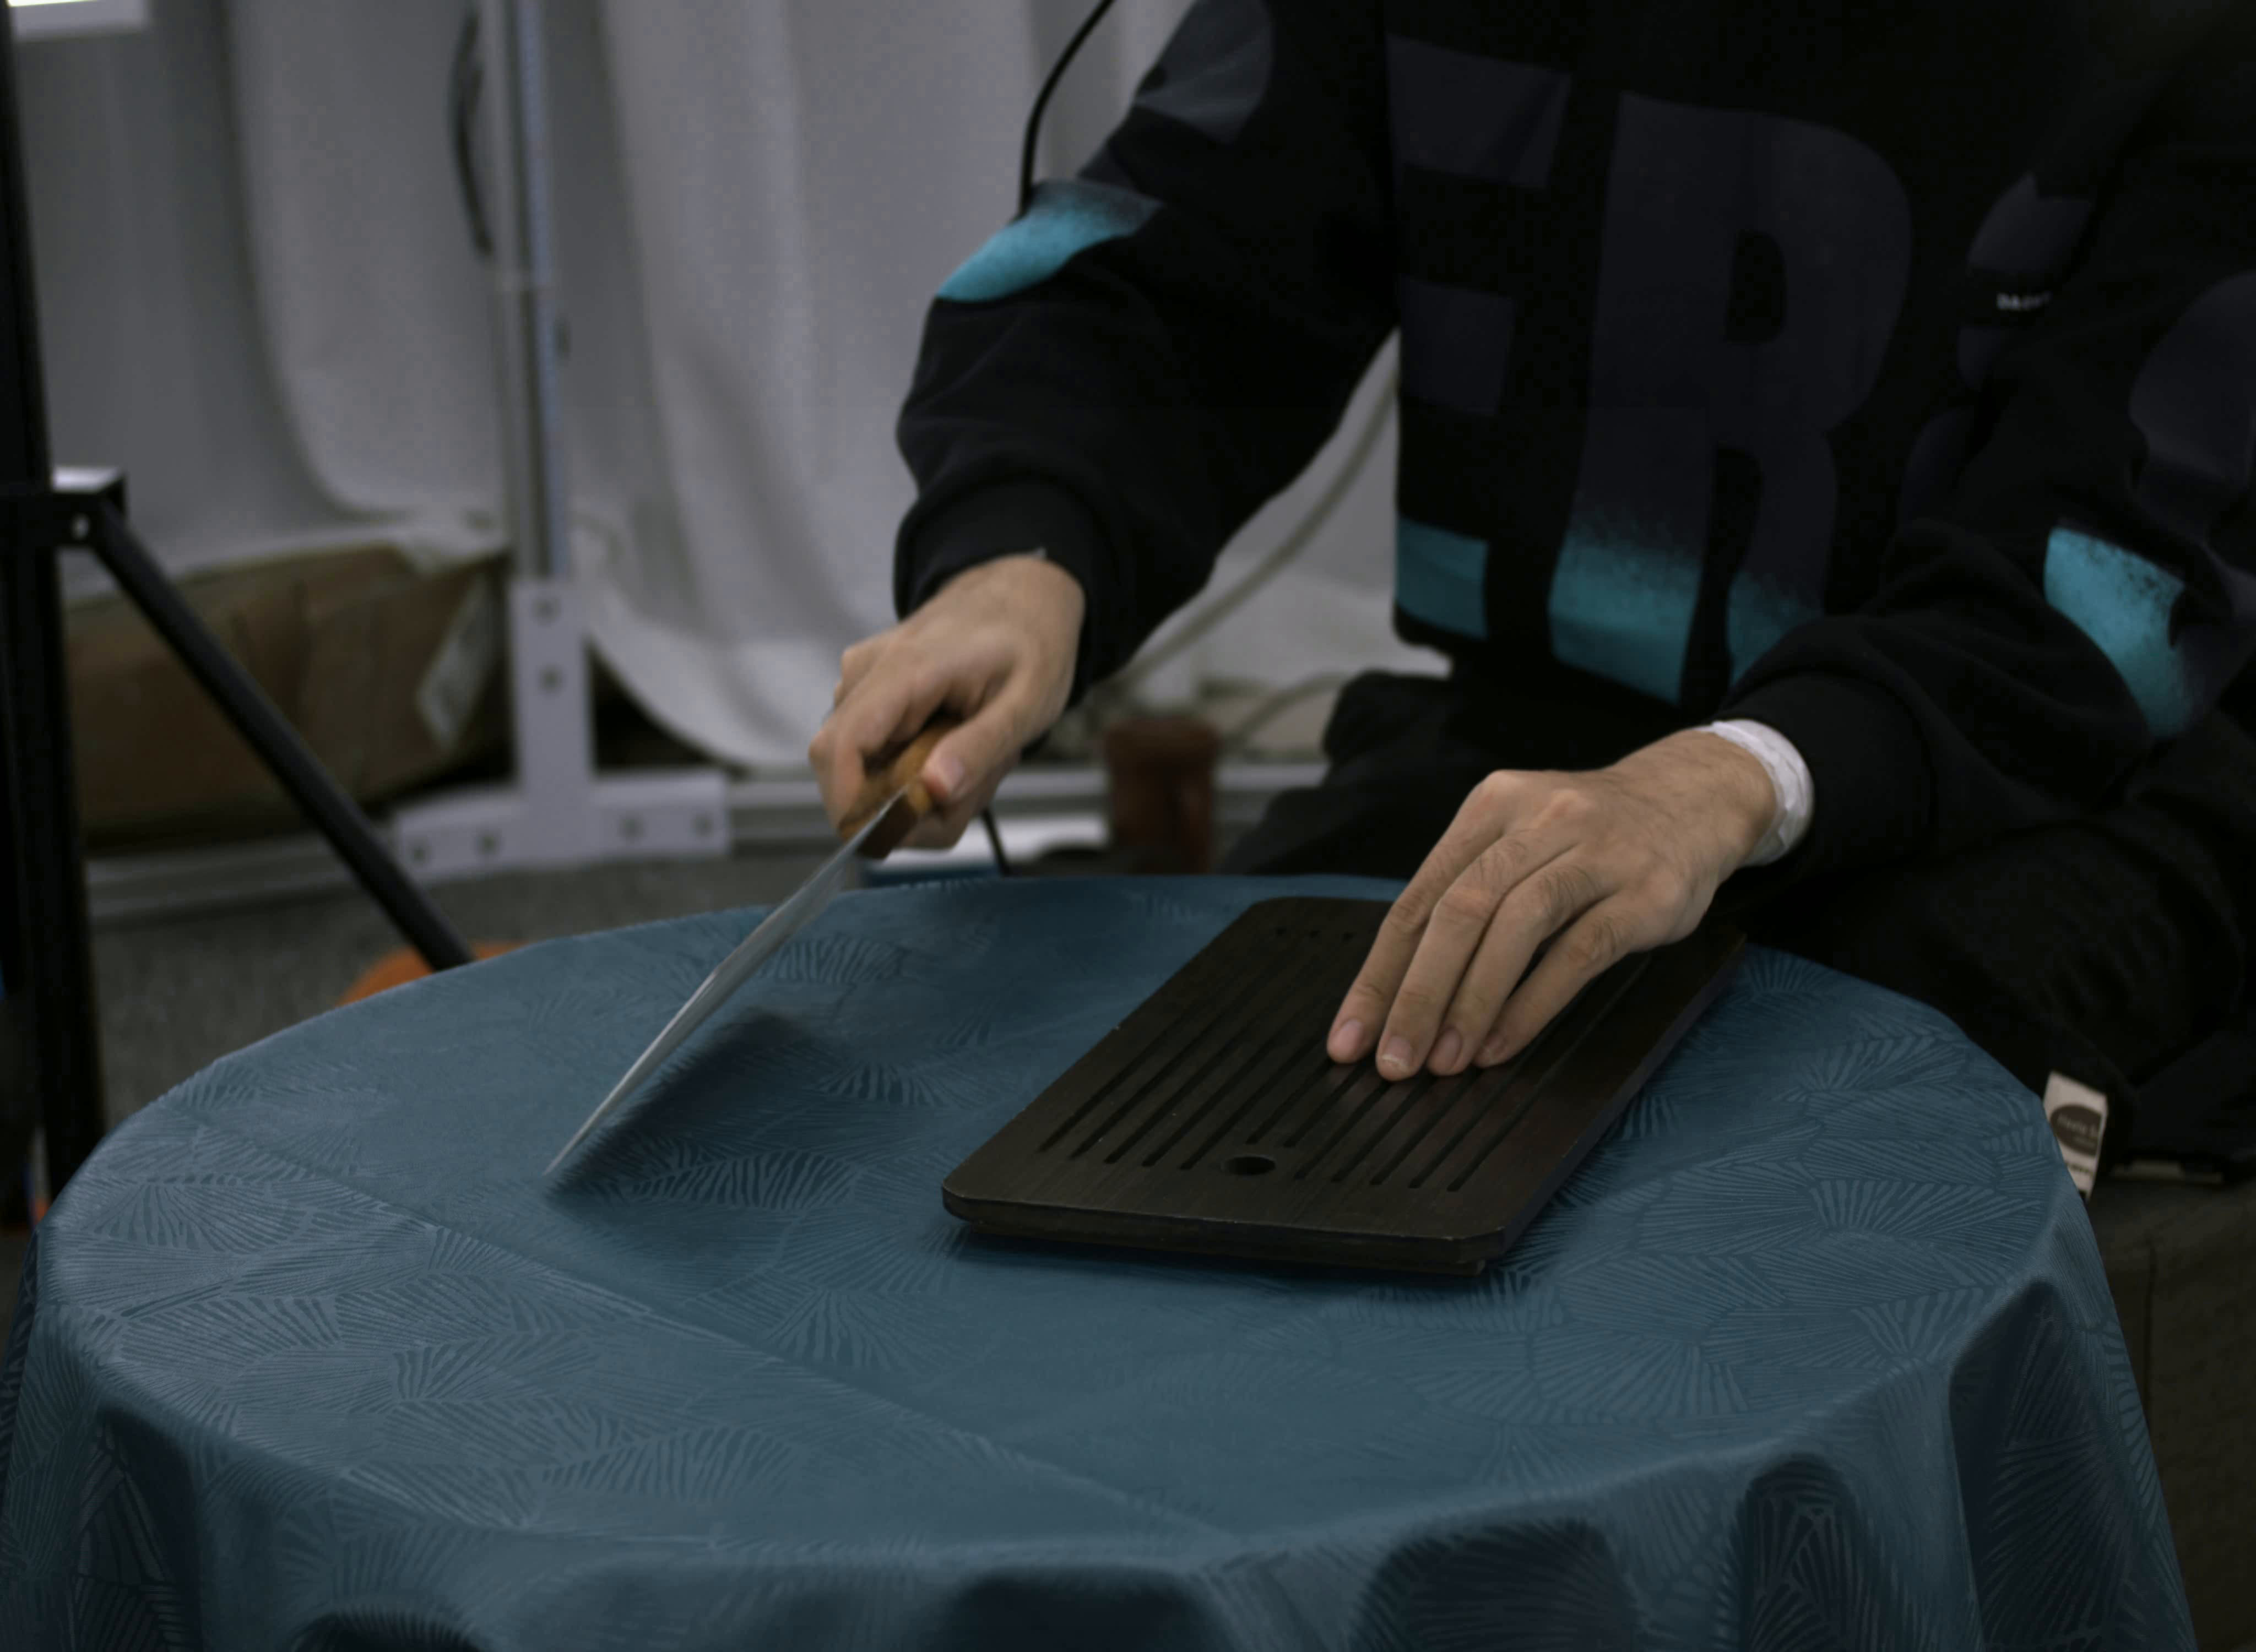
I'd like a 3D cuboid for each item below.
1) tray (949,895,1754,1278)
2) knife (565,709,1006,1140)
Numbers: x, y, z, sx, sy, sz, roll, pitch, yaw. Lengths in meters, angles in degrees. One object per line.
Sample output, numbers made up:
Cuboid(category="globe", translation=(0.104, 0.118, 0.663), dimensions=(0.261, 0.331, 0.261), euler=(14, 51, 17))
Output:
Cuboid(category="tray", translation=(0.076, 0.077, 1.622), dimensions=(0.172, 0.018, 0.302), euler=(3, 17, 21))
Cuboid(category="knife", translation=(-0.109, 0.032, 1.702), dimensions=(0.021, 0.093, 0.303), euler=(43, 23, 0))
